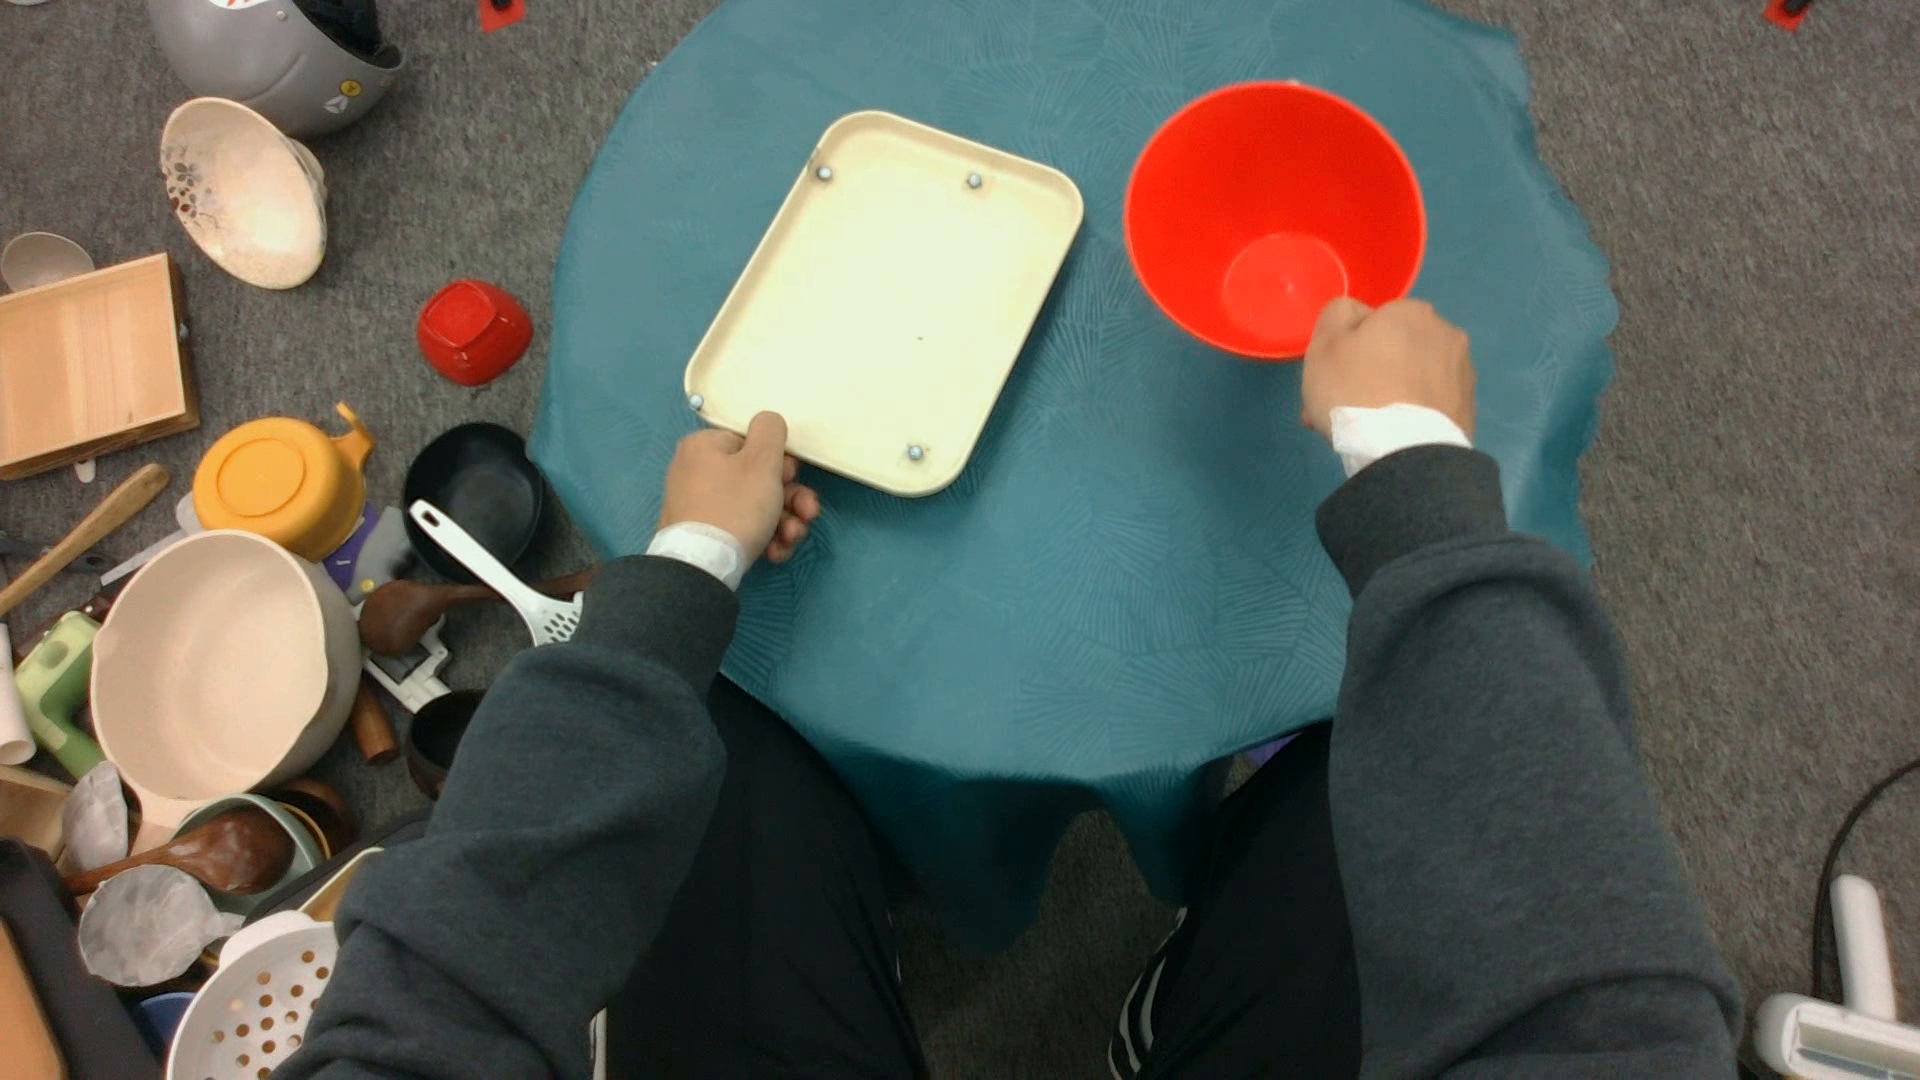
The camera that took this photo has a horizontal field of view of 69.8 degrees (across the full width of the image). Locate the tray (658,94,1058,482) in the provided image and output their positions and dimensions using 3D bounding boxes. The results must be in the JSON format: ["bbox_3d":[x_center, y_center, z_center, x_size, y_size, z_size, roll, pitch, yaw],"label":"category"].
[{"bbox_3d":[-0.055,-0.151,0.801,0.171,0.017,0.240,21,67,8],"label":"tray"}]

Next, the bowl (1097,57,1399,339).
[{"bbox_3d":[0.151,-0.165,0.724,0.148,0.104,0.148,-3,76,11],"label":"bowl"}]
